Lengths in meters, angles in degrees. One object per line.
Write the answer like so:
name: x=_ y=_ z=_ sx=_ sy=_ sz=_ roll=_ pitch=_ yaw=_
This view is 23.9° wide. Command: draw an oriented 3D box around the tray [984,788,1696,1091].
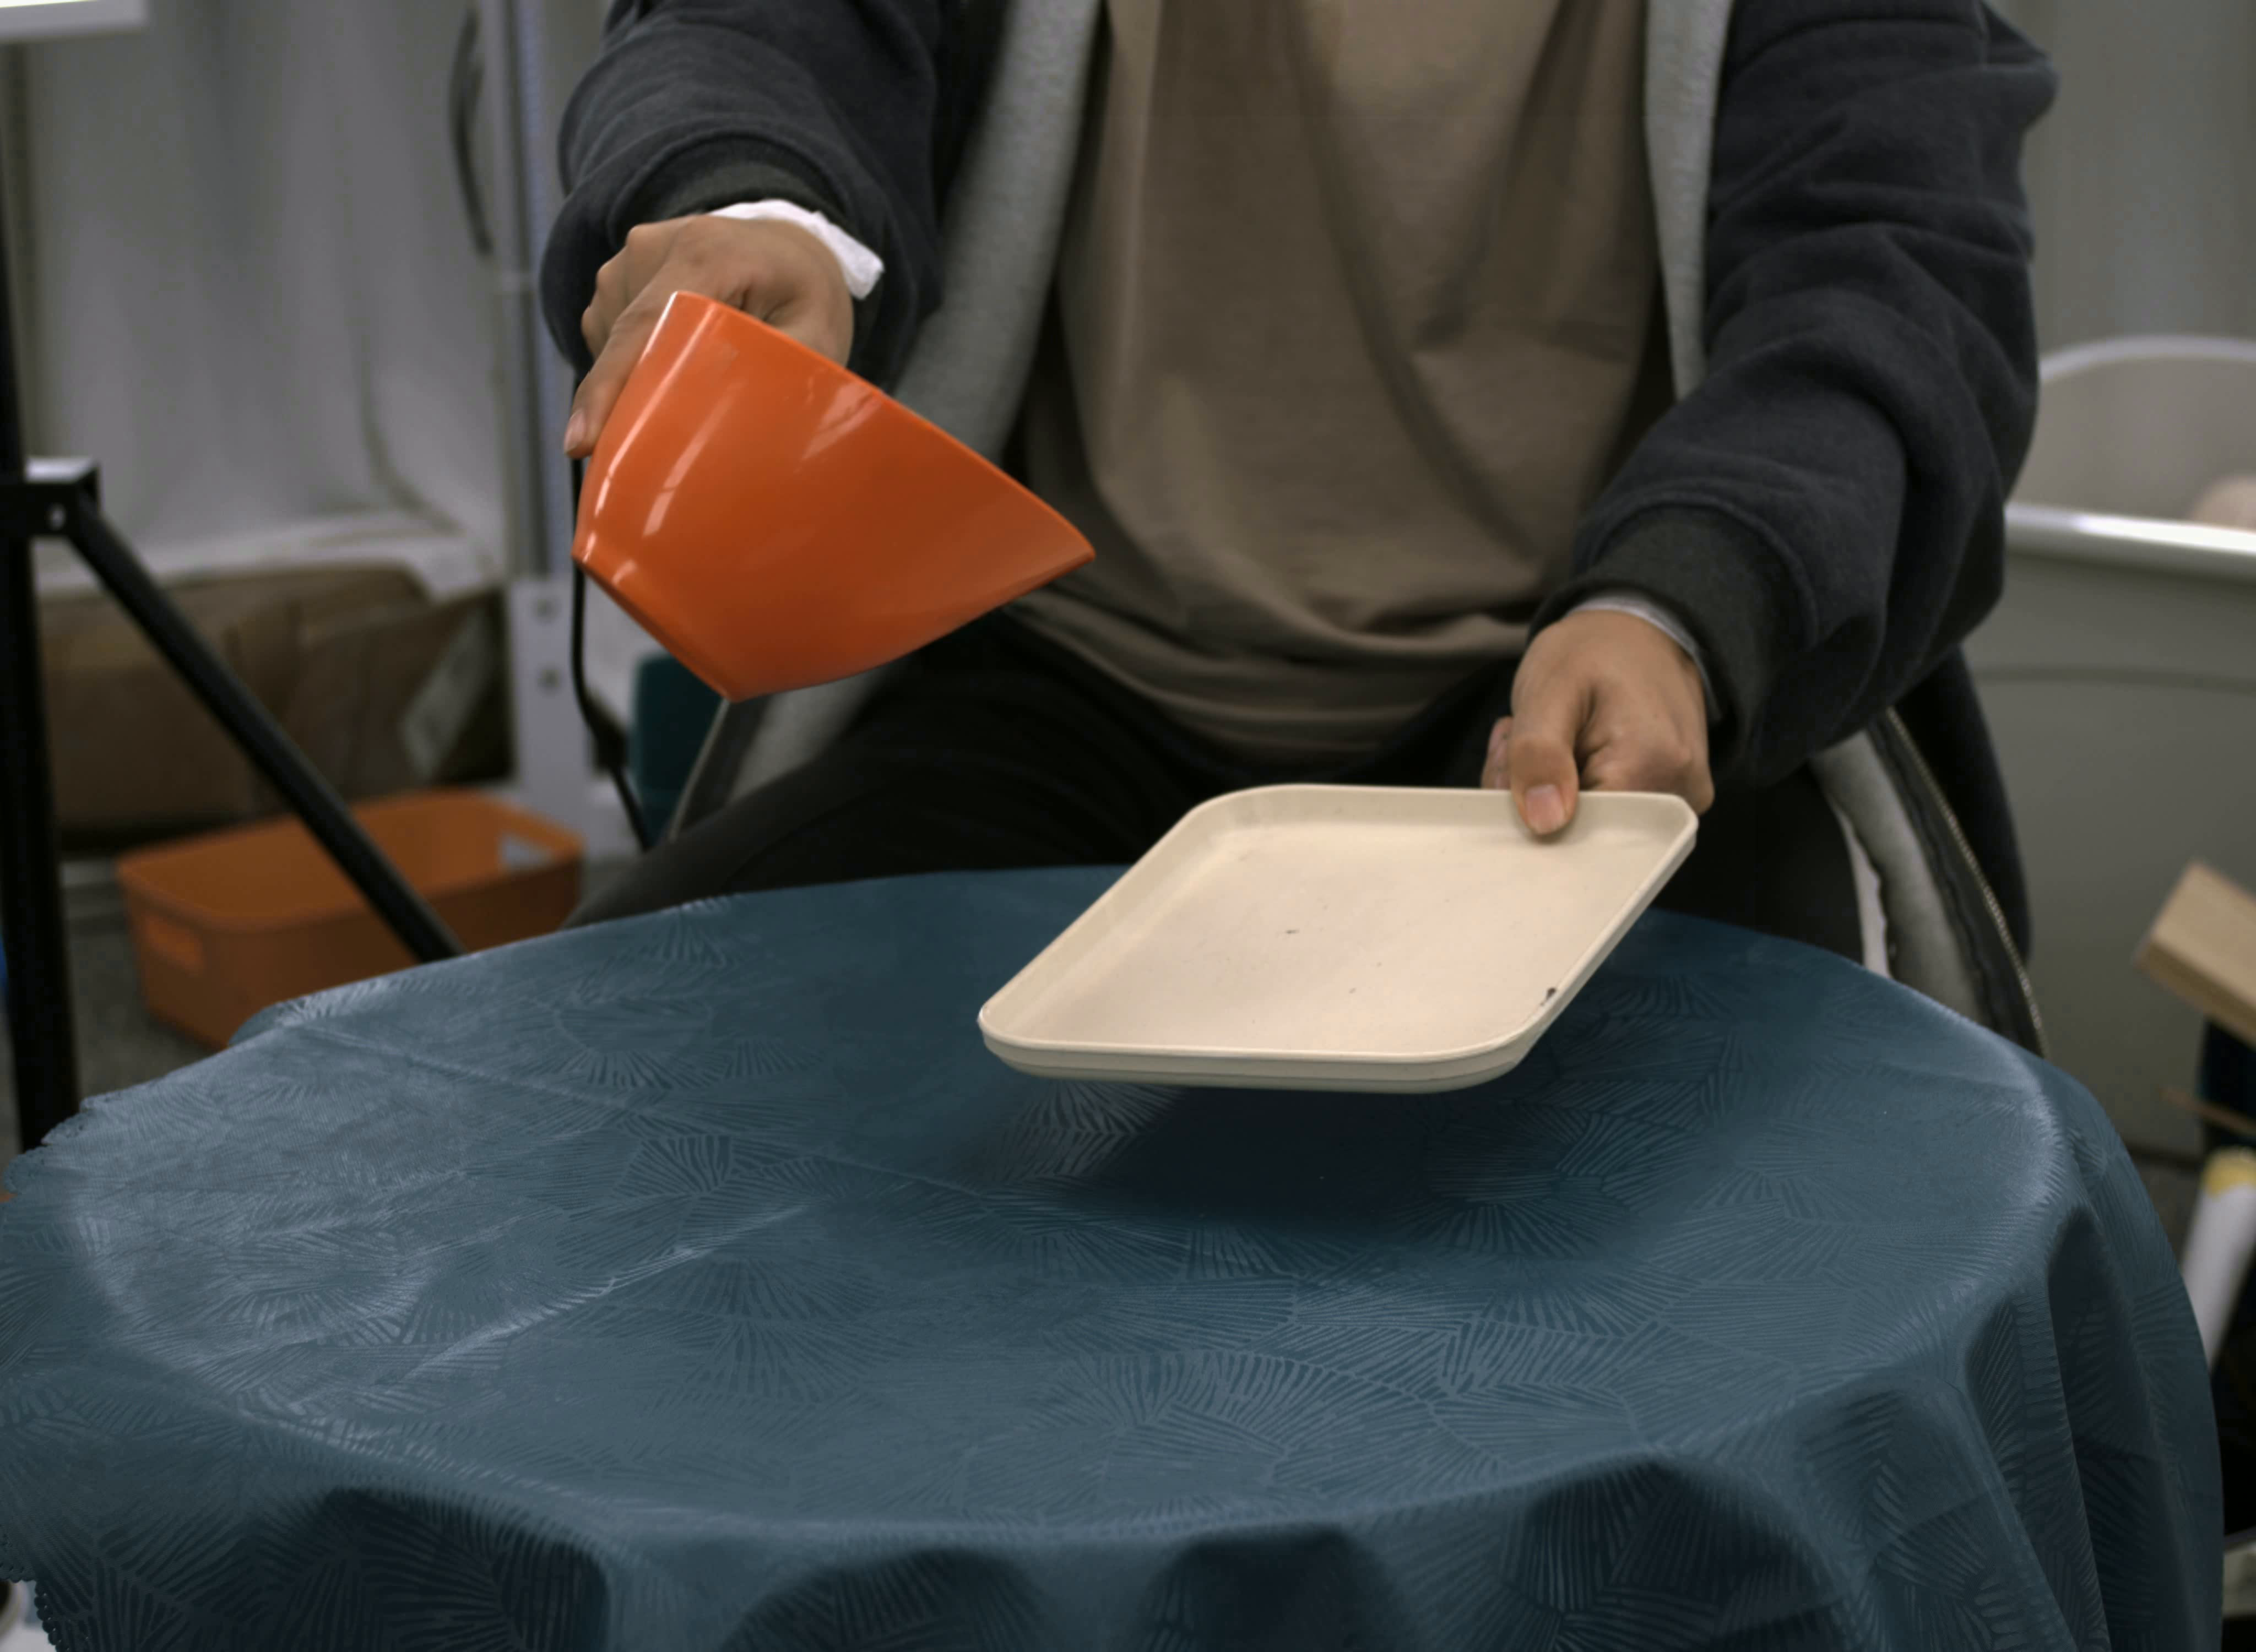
tray: x=0.069 y=0.033 z=1.610 sx=0.173 sy=0.017 sz=0.237 roll=1 pitch=19 yaw=22

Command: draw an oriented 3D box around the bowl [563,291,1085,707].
bowl: x=-0.102 y=-0.087 z=1.596 sx=0.104 sy=0.145 sz=0.150 roll=-48 pitch=24 yaw=-3
